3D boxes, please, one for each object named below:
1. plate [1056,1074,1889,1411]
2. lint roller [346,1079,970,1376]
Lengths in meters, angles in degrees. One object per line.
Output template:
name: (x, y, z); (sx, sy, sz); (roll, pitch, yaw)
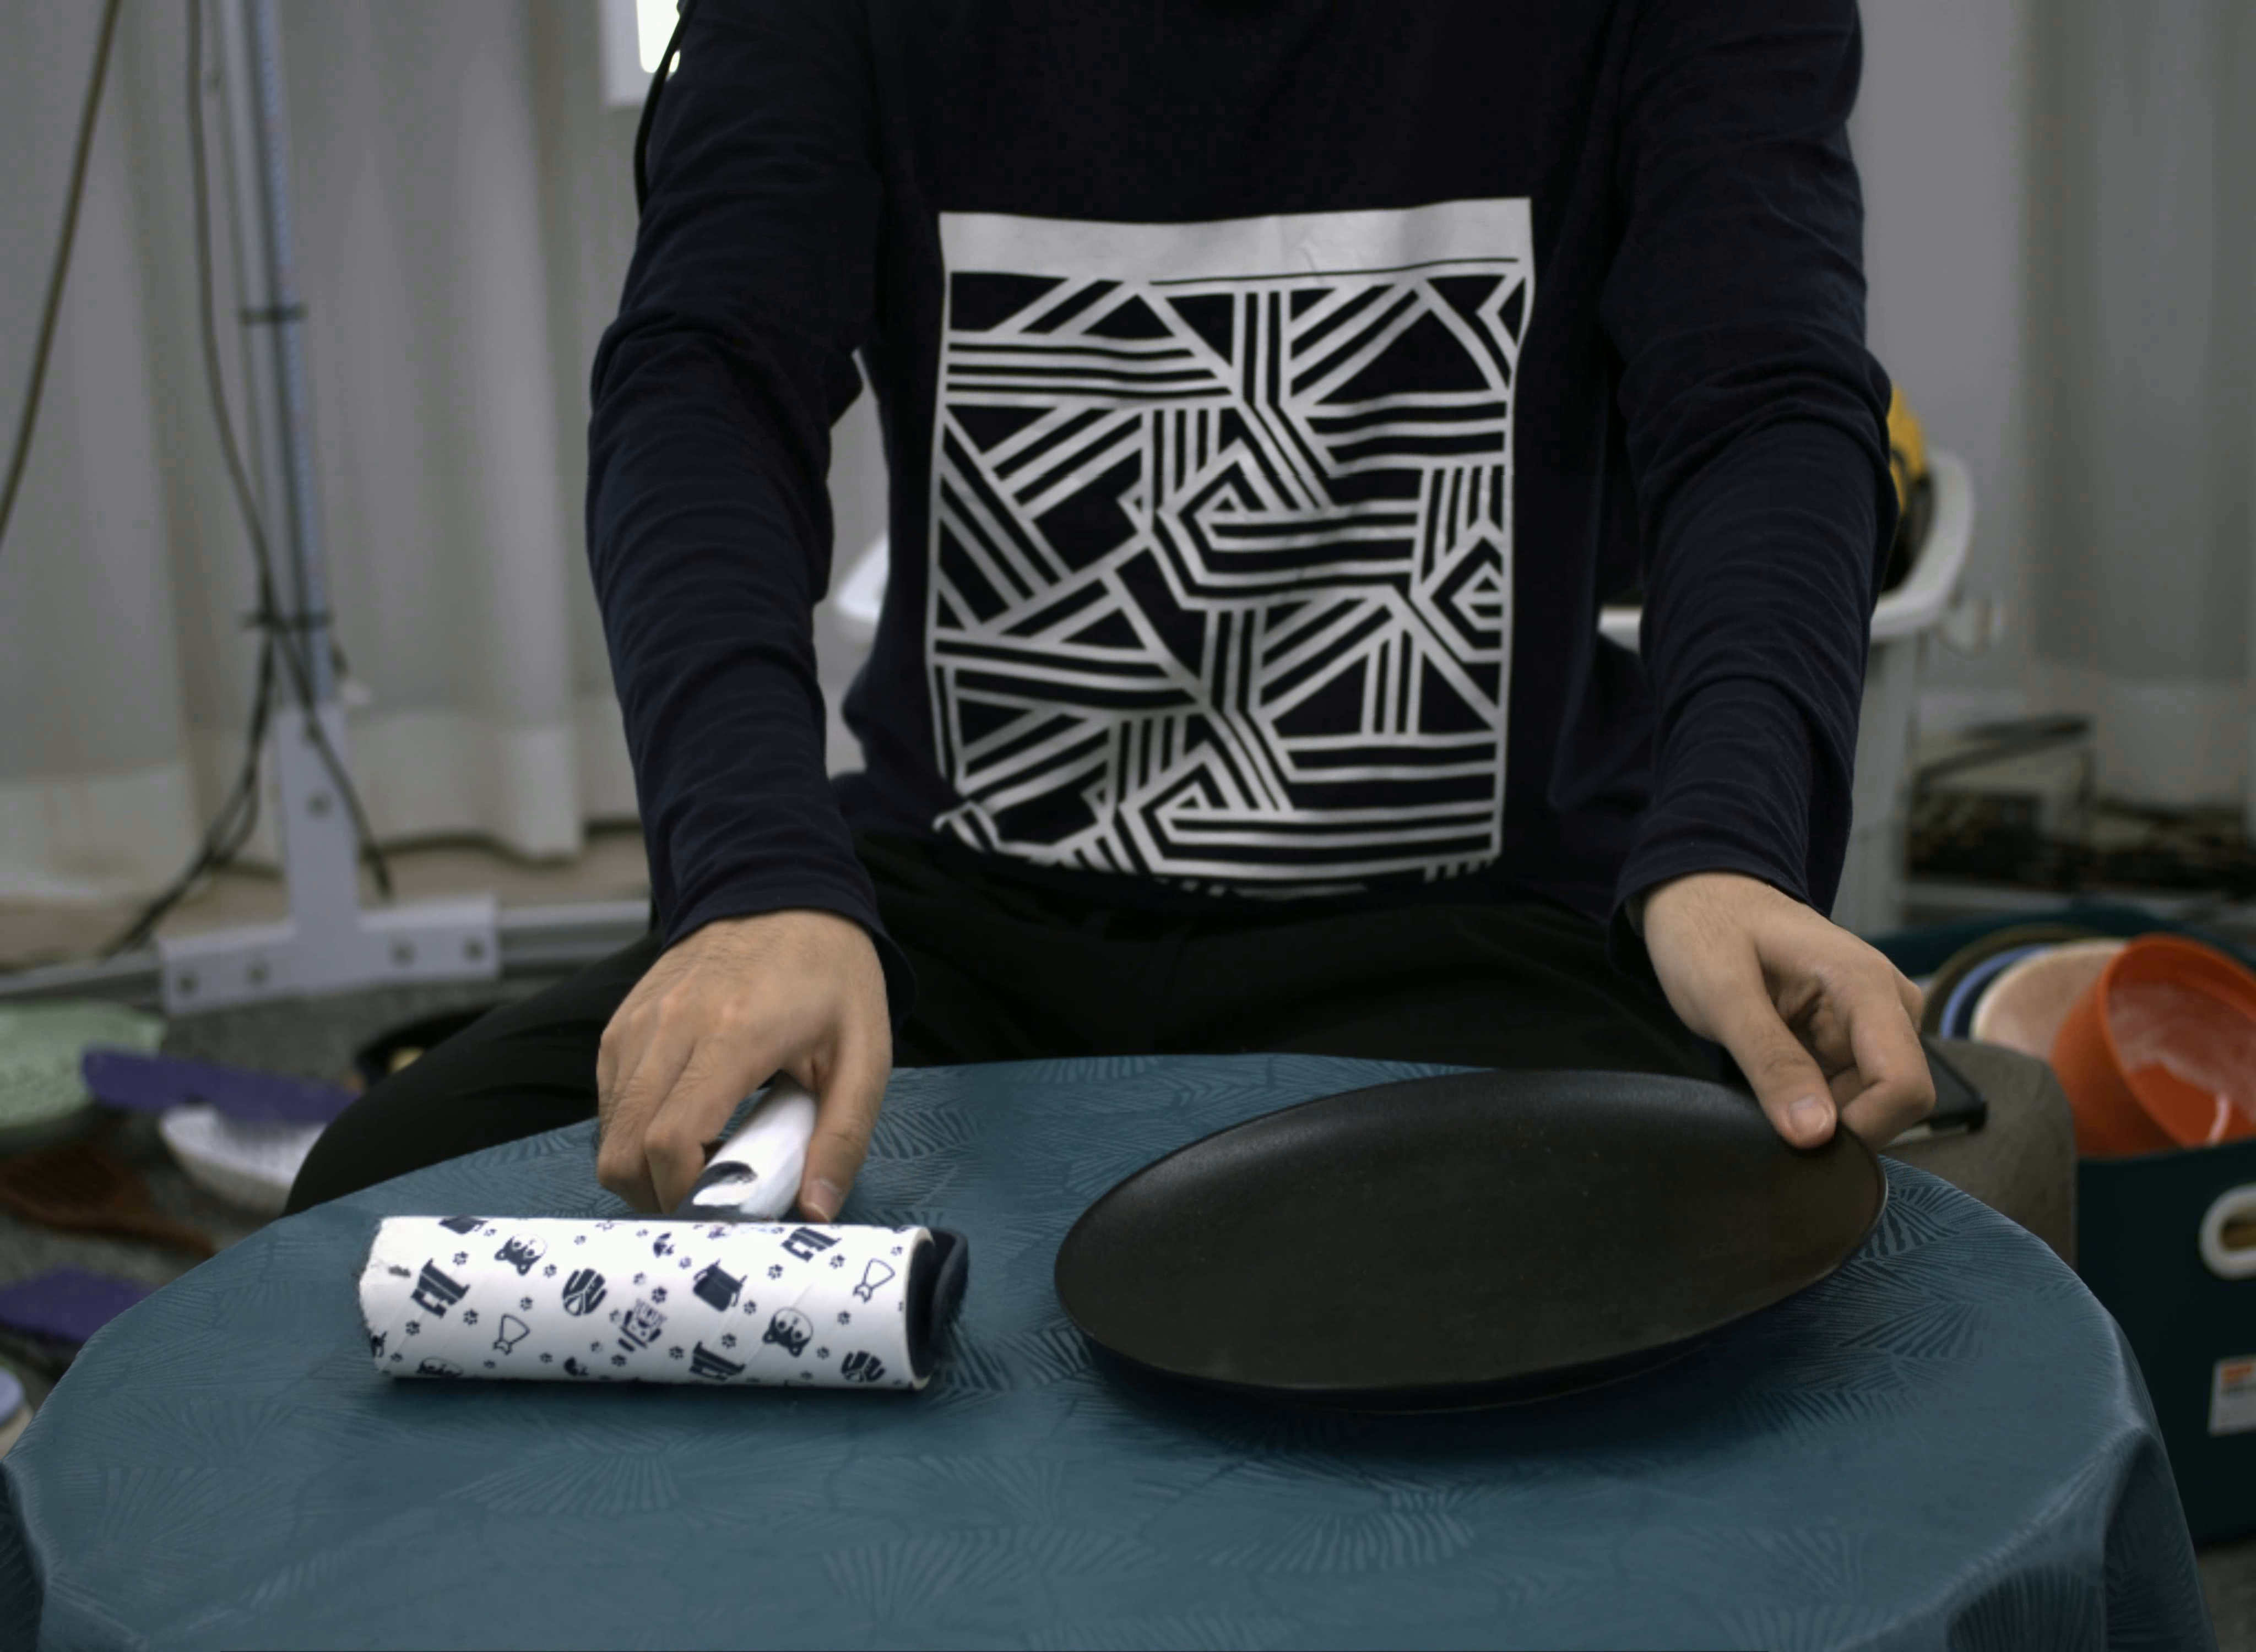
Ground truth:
plate: (0.100, 0.124, 1.591); (0.243, 0.023, 0.246); (-7, 17, 2)
lint roller: (-0.118, 0.112, 1.665); (0.176, 0.050, 0.248); (-1, 13, 11)
